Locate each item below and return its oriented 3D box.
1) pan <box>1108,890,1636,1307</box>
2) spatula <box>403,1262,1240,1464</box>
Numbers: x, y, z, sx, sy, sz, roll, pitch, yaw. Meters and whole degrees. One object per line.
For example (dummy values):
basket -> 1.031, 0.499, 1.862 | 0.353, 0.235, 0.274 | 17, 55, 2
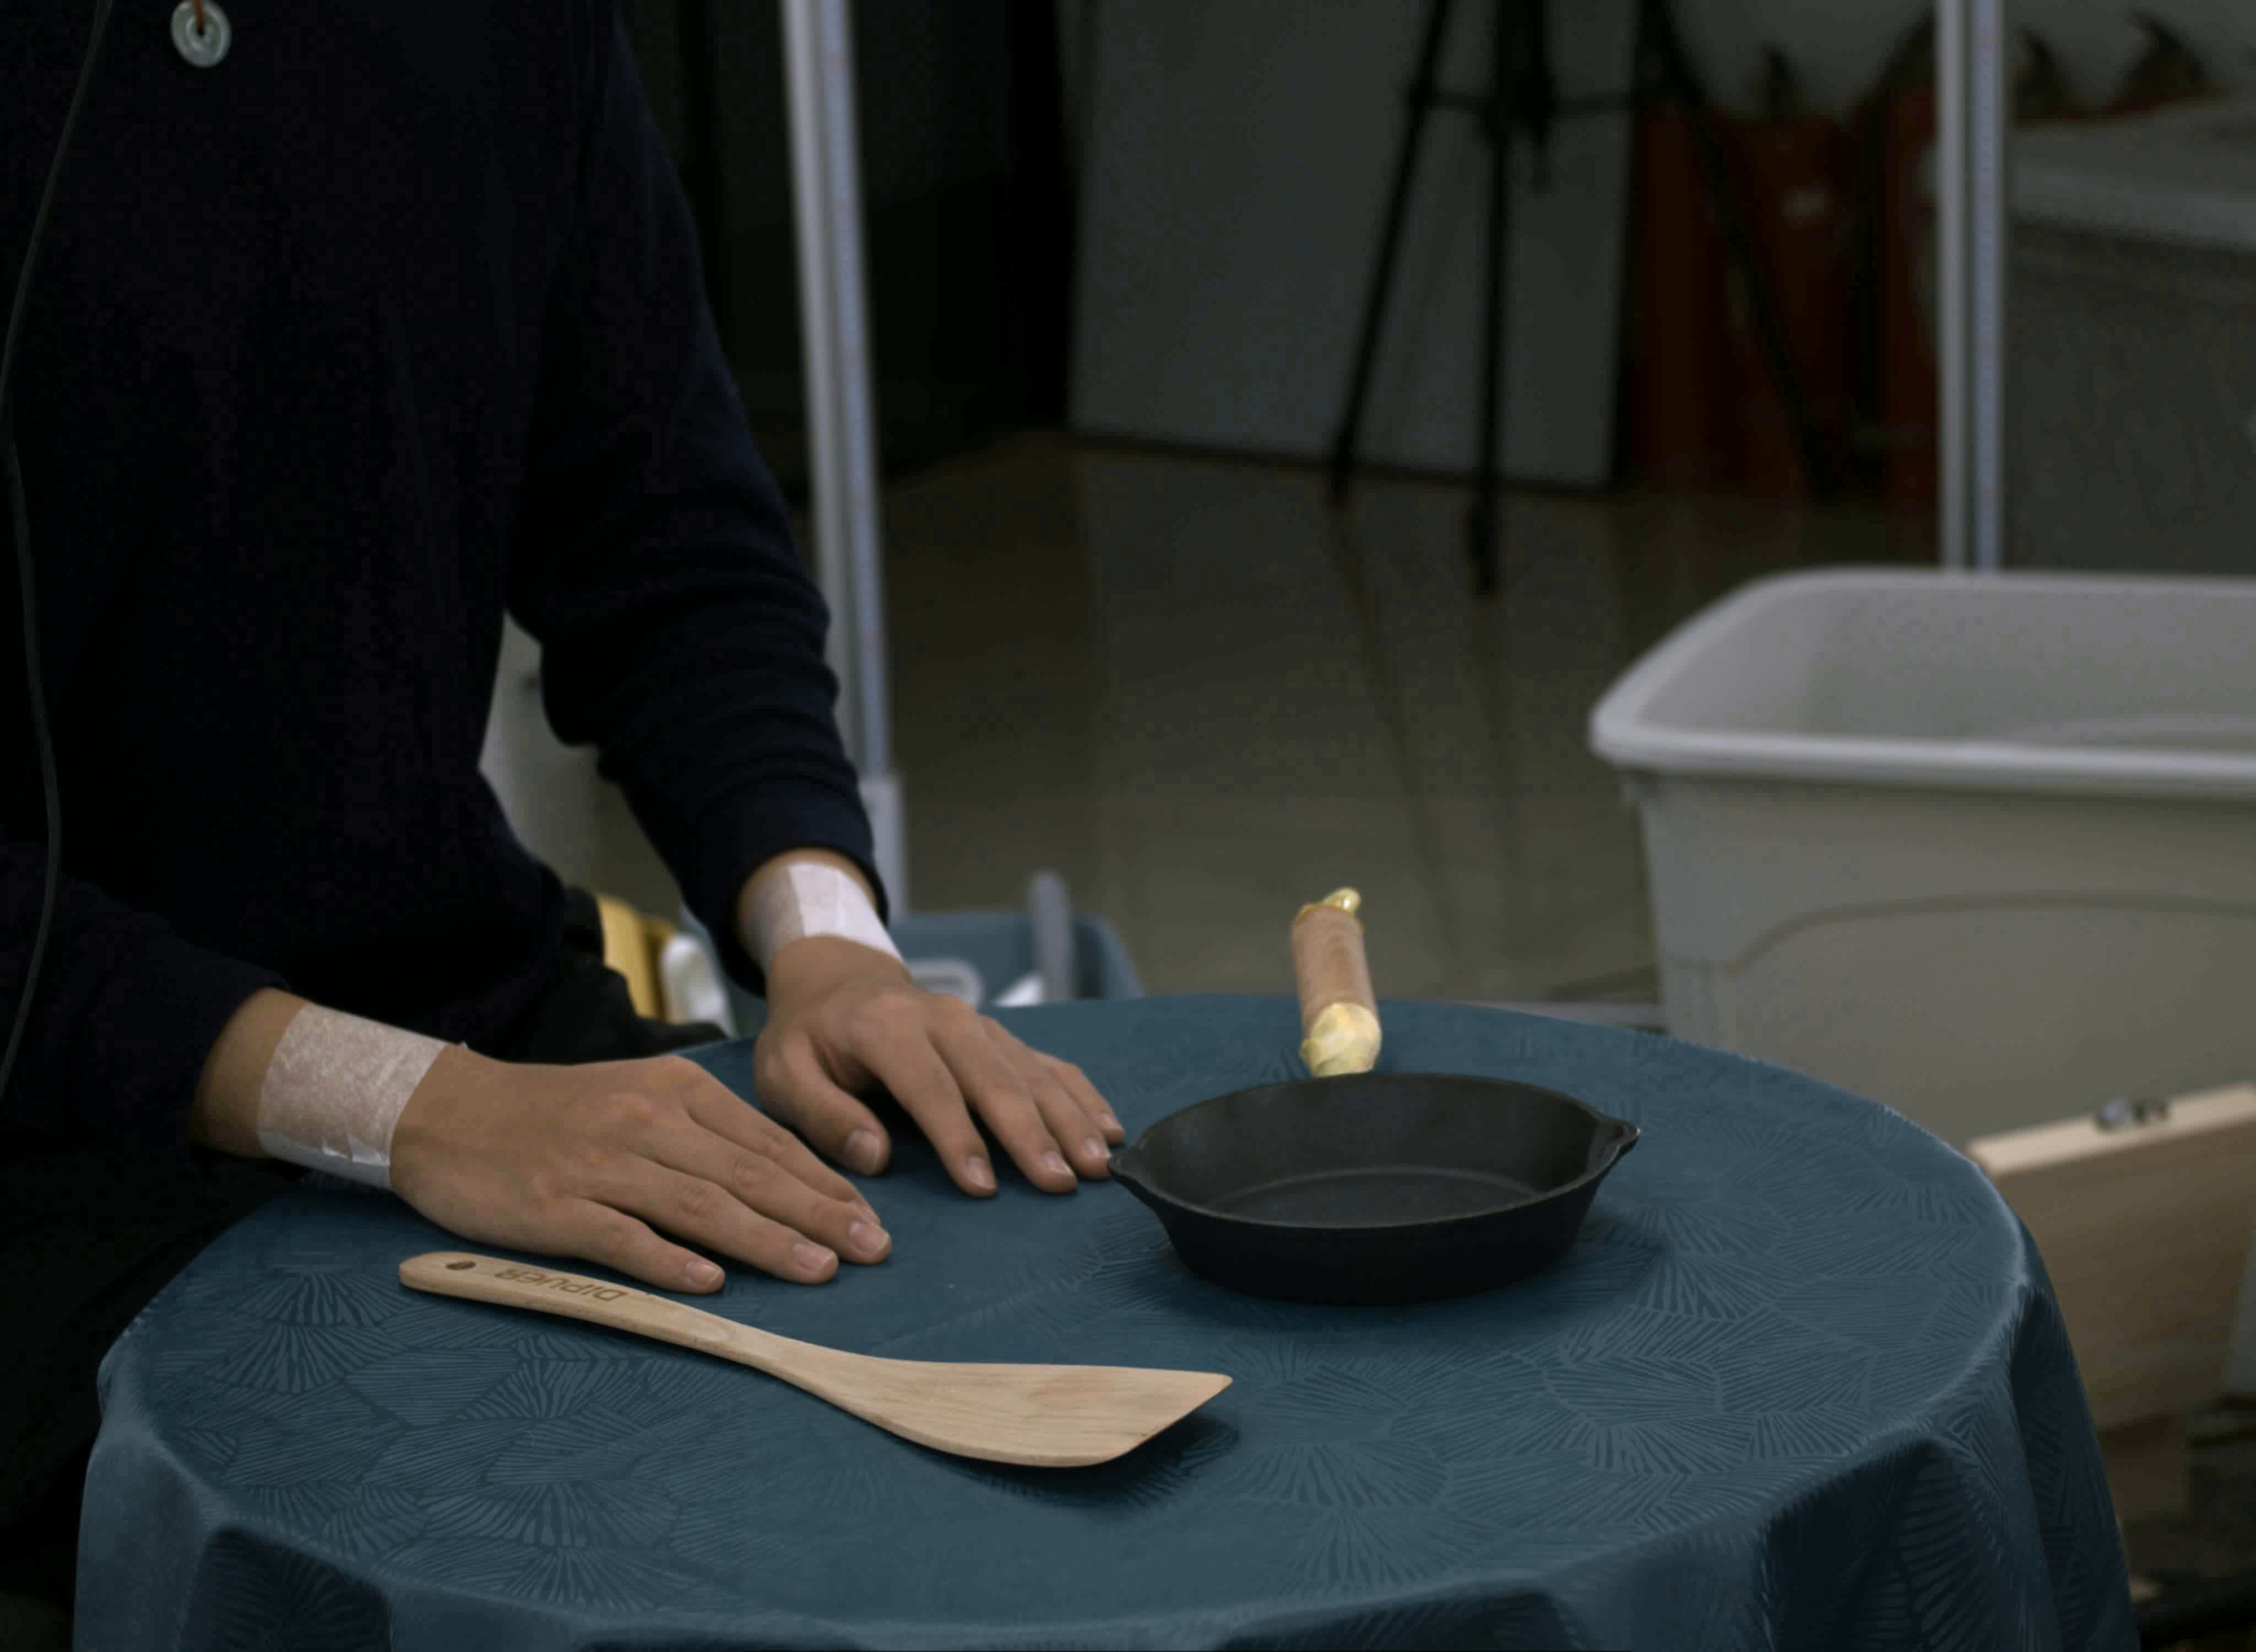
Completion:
pan -> 0.077, 0.087, 1.780 | 0.167, 0.050, 0.324 | -4, 15, 1
spatula -> -0.103, 0.156, 1.625 | 0.330, 0.017, 0.078 | 8, 17, 41
